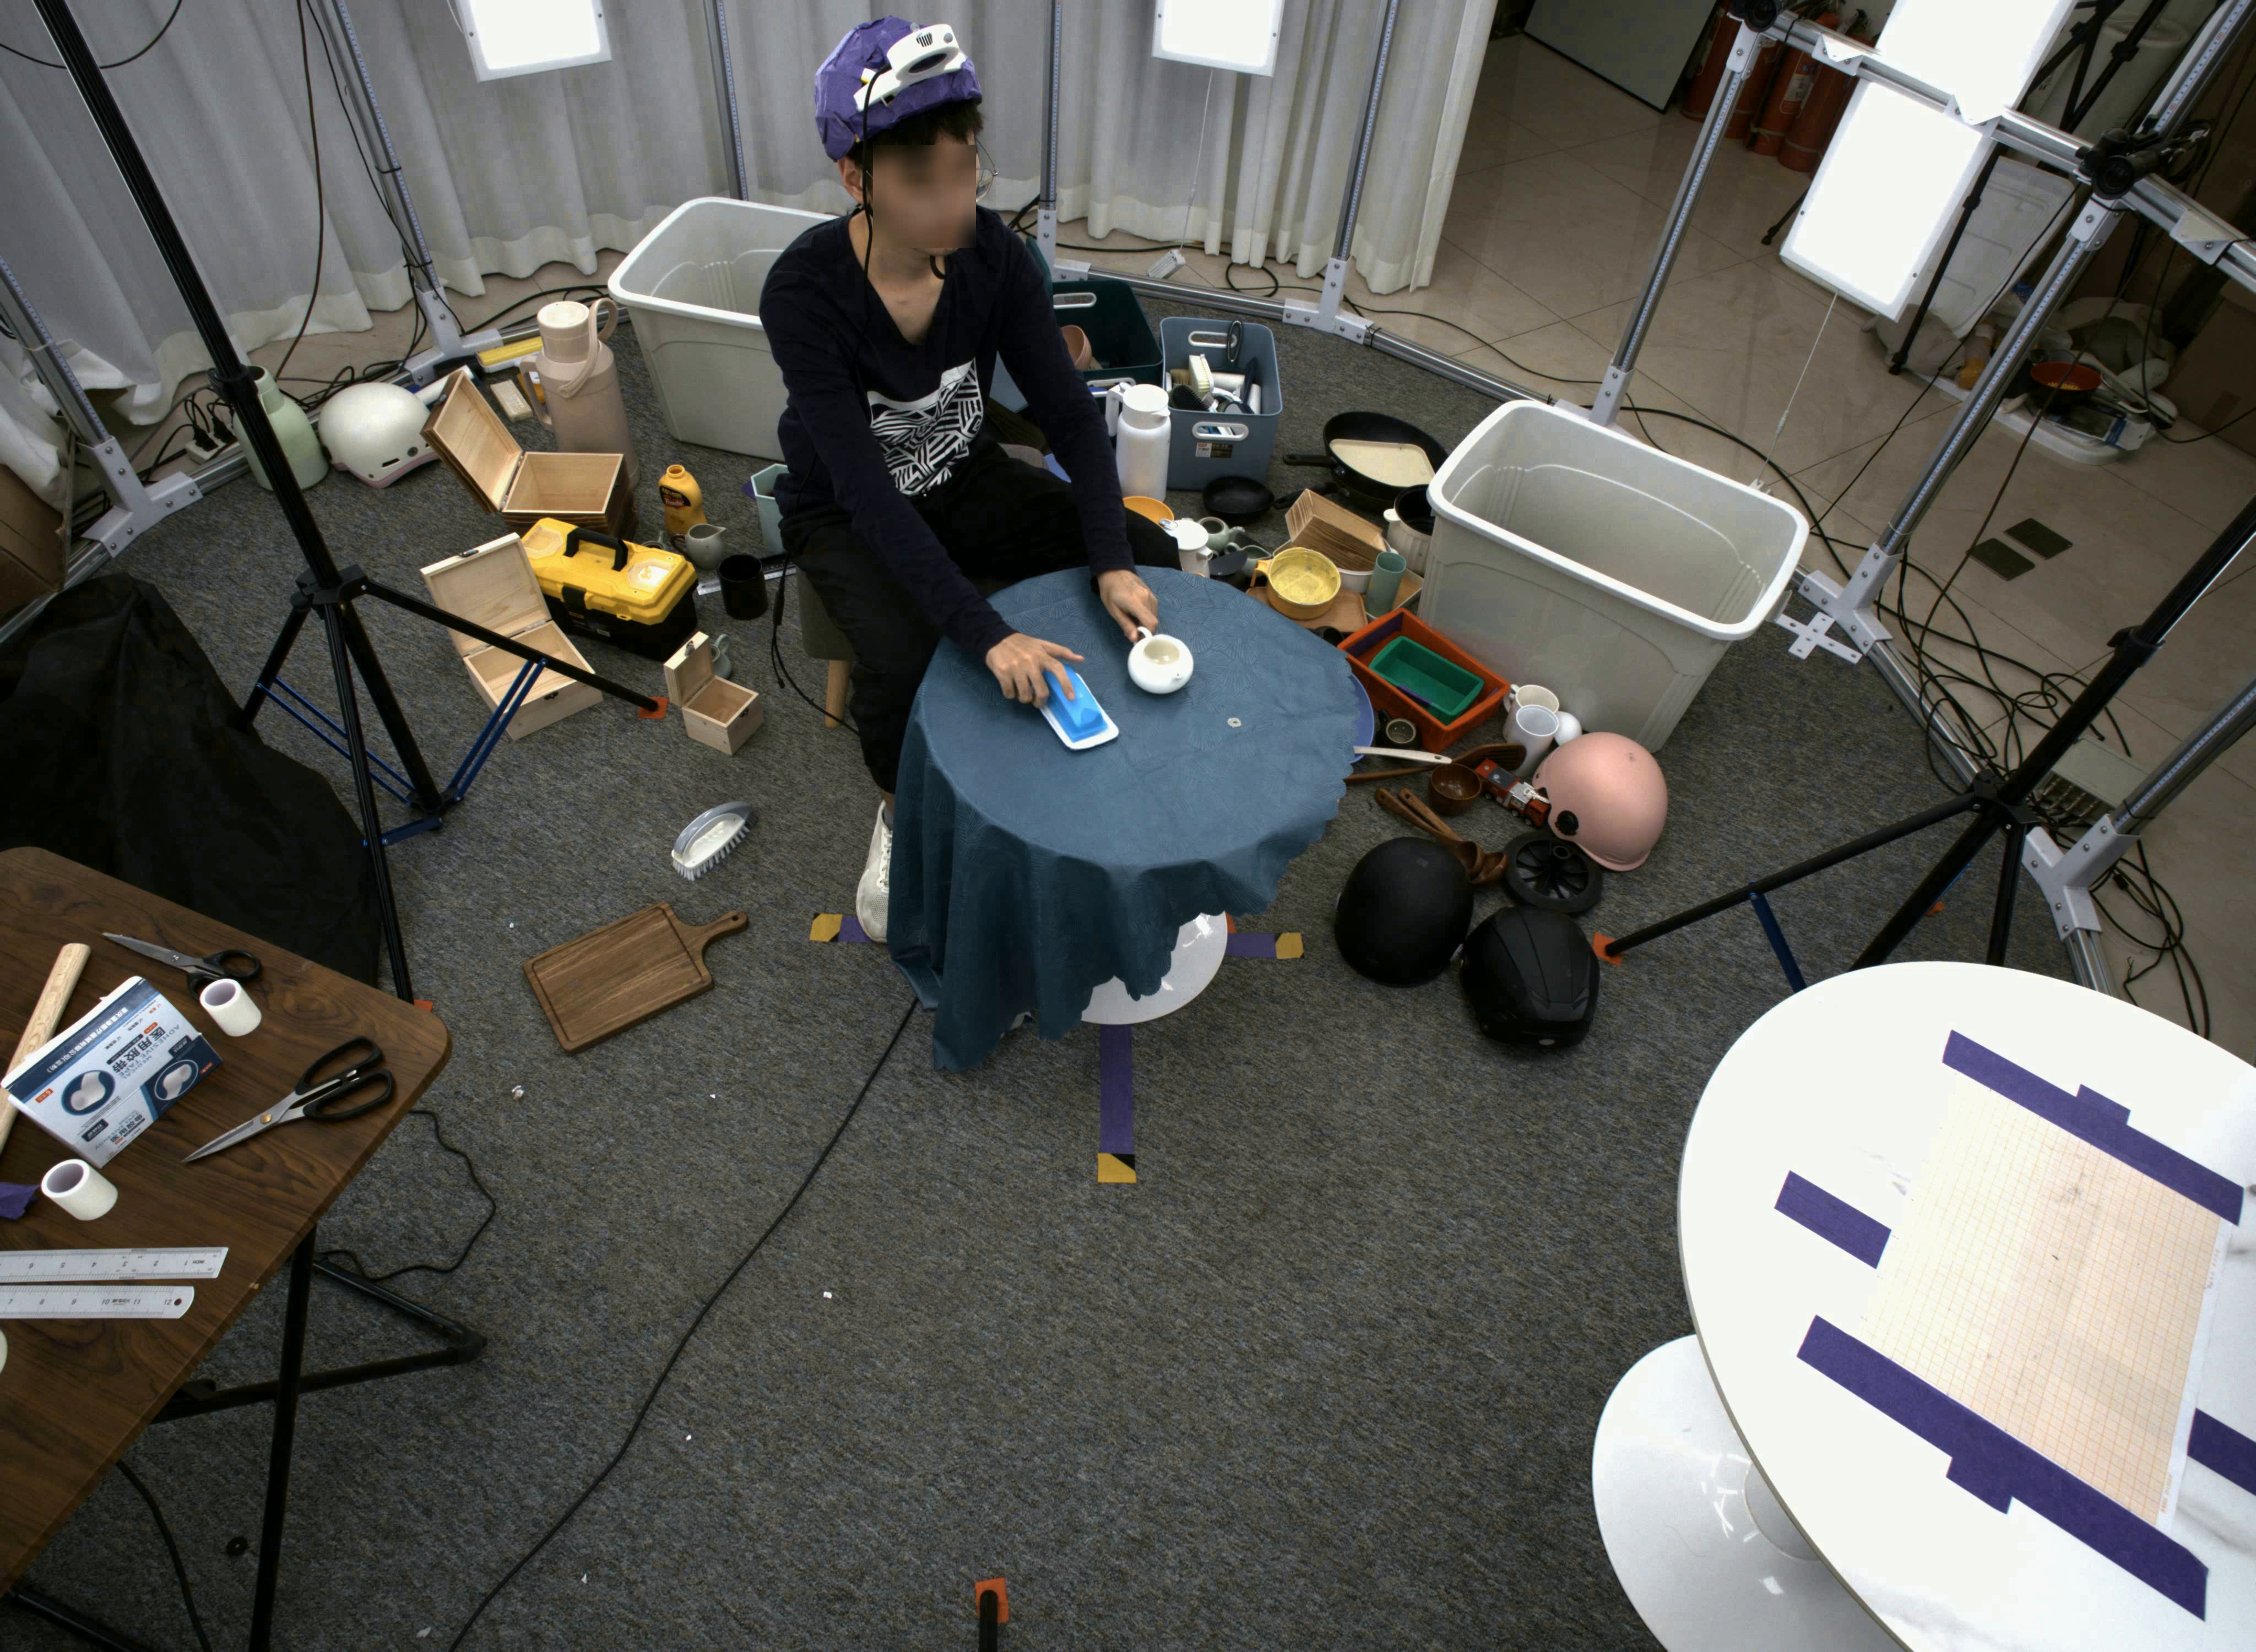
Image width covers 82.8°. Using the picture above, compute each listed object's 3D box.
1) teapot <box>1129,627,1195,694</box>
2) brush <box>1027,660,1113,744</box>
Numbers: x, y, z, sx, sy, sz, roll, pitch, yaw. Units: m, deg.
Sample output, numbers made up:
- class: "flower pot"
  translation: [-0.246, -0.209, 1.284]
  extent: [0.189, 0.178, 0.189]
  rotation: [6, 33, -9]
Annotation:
- class: "teapot"
  translation: [0.043, -0.238, 1.841]
  extent: [0.094, 0.055, 0.130]
  rotation: [-27, 56, -20]
- class: "brush"
  translation: [-0.079, -0.179, 1.779]
  extent: [0.084, 0.054, 0.147]
  rotation: [-16, 54, -20]
